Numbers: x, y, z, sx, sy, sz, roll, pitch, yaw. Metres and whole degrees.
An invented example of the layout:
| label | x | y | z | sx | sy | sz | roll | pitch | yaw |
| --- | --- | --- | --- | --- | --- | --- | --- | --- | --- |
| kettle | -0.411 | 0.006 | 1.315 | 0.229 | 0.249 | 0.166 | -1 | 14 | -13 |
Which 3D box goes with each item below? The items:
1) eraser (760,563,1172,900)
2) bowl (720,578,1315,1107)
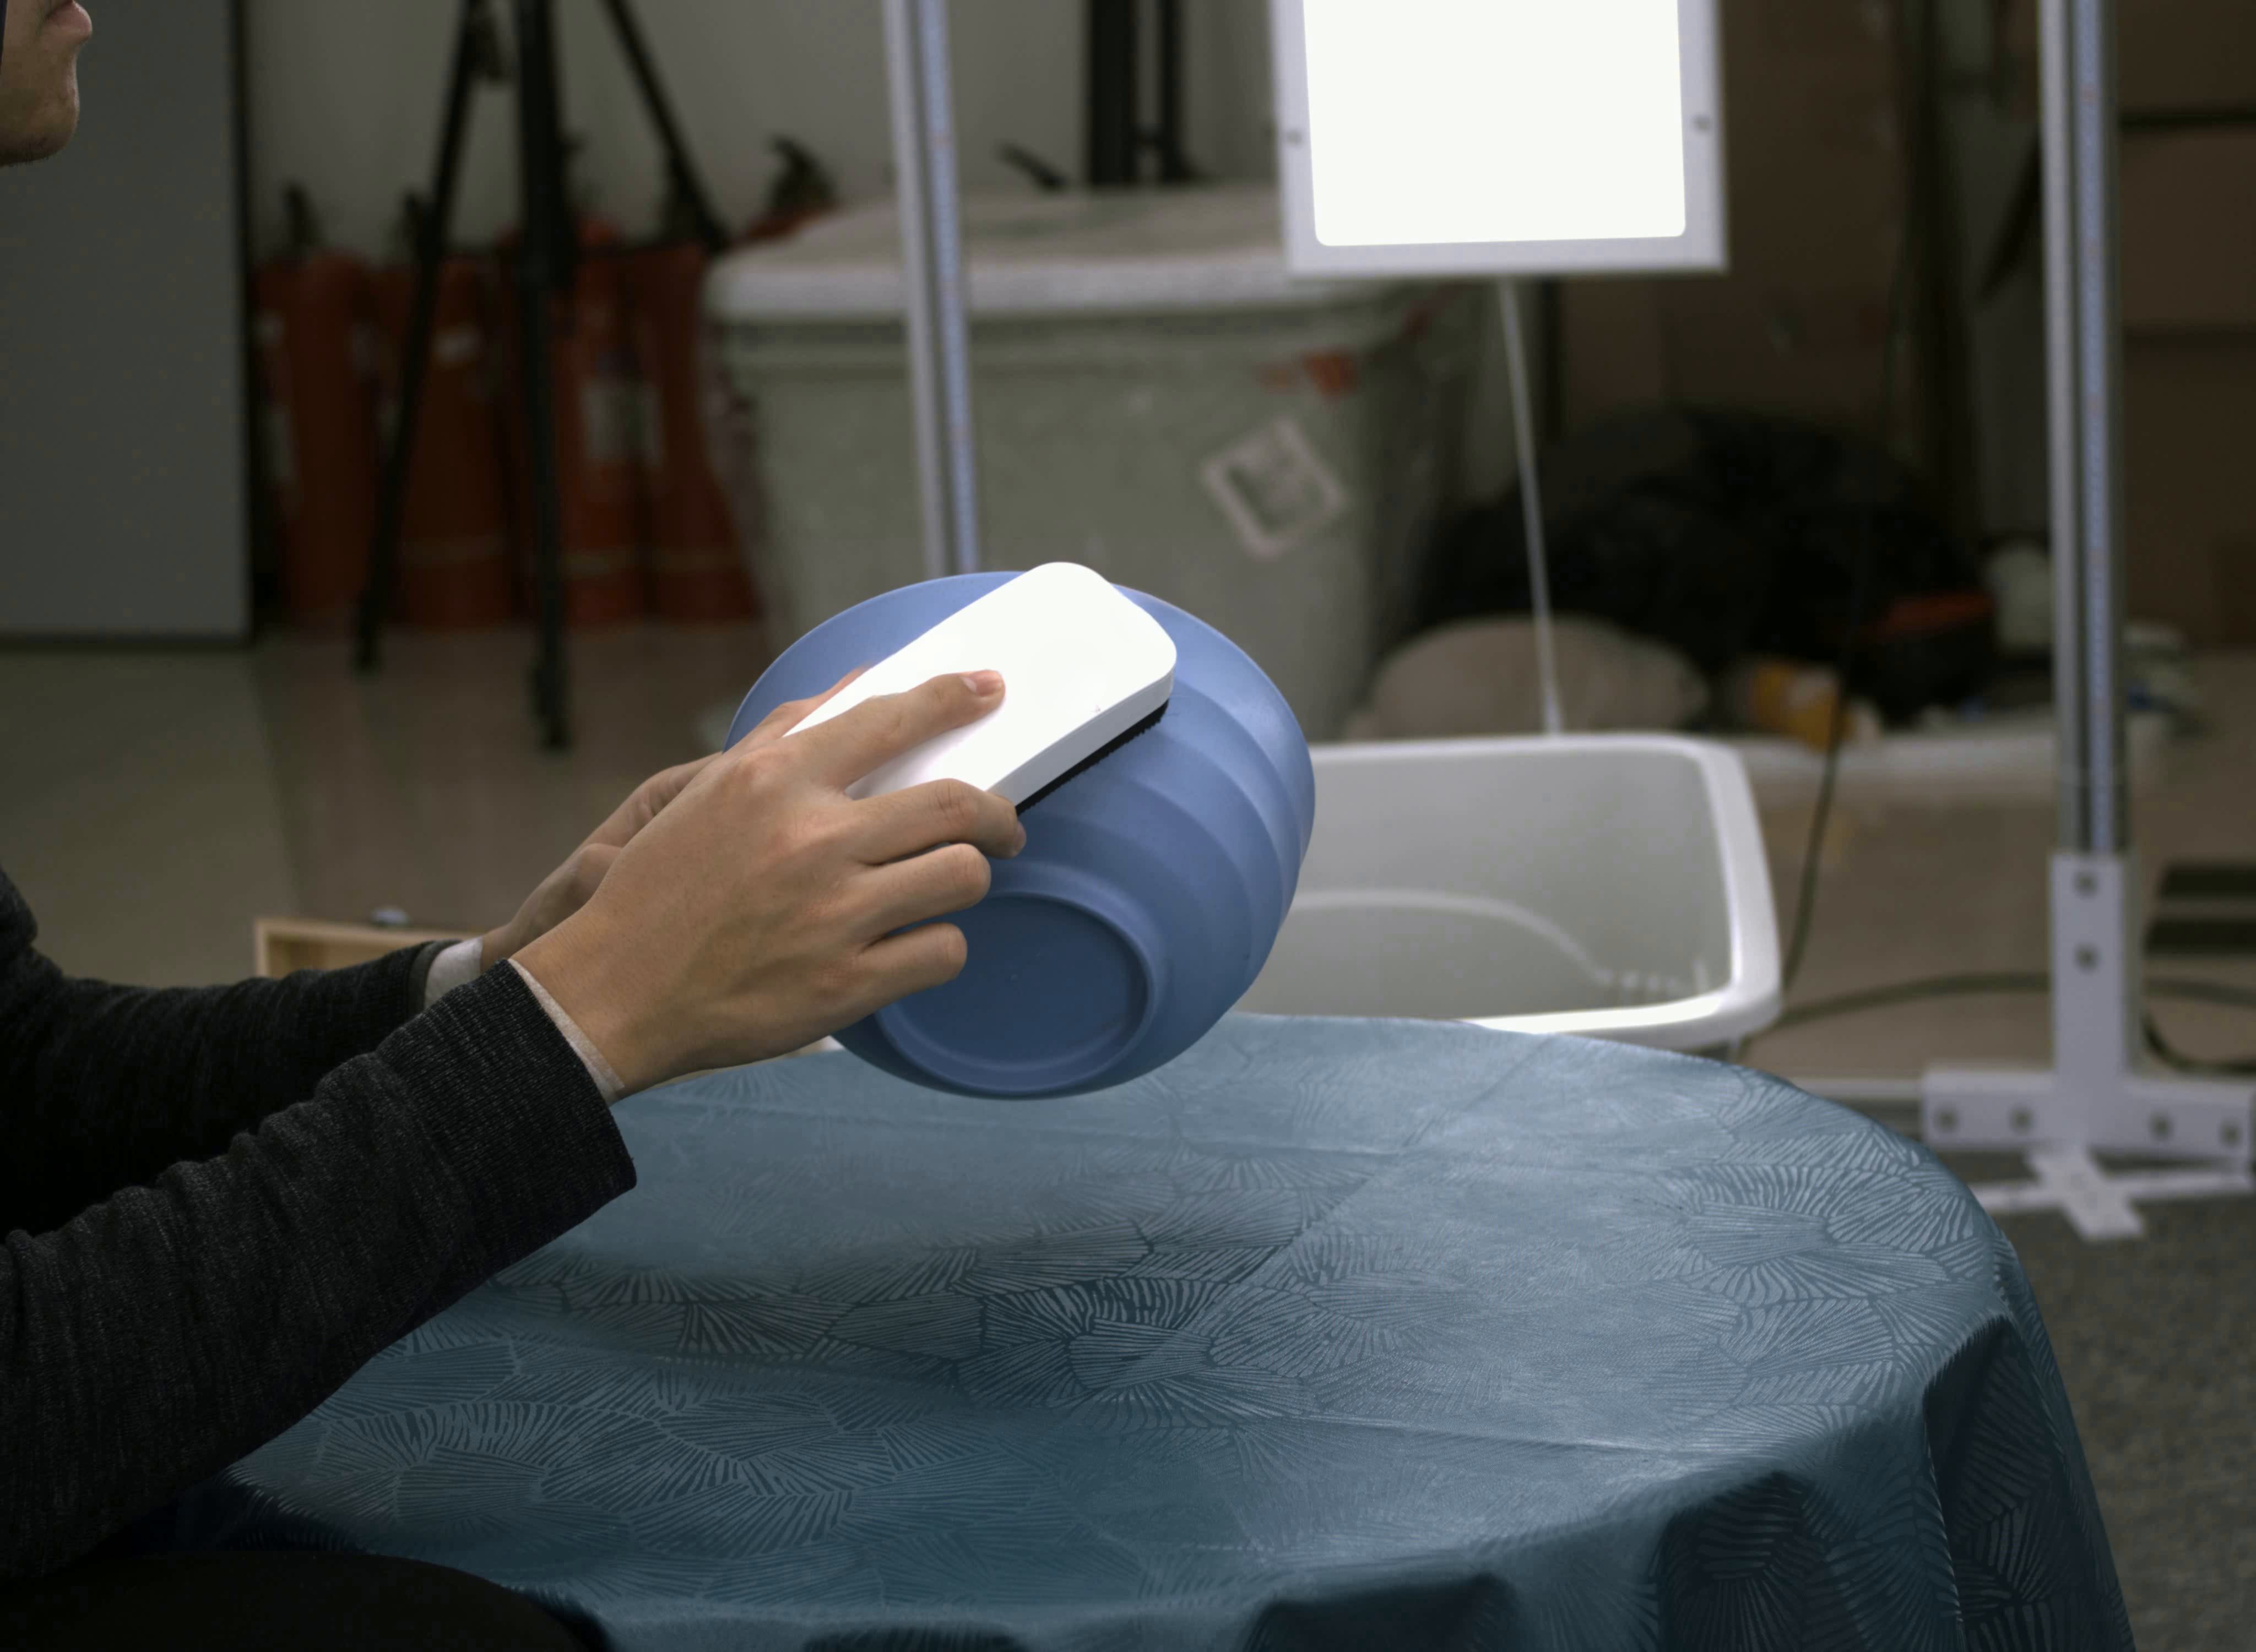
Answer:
| label | x | y | z | sx | sy | sz | roll | pitch | yaw |
| --- | --- | --- | --- | --- | --- | --- | --- | --- | --- |
| eraser | -0.050 | -0.032 | 1.691 | 0.129 | 0.034 | 0.064 | -34 | 56 | -20 |
| bowl | -0.037 | 0.024 | 1.777 | 0.197 | 0.197 | 0.095 | -3 | 43 | 6 |
